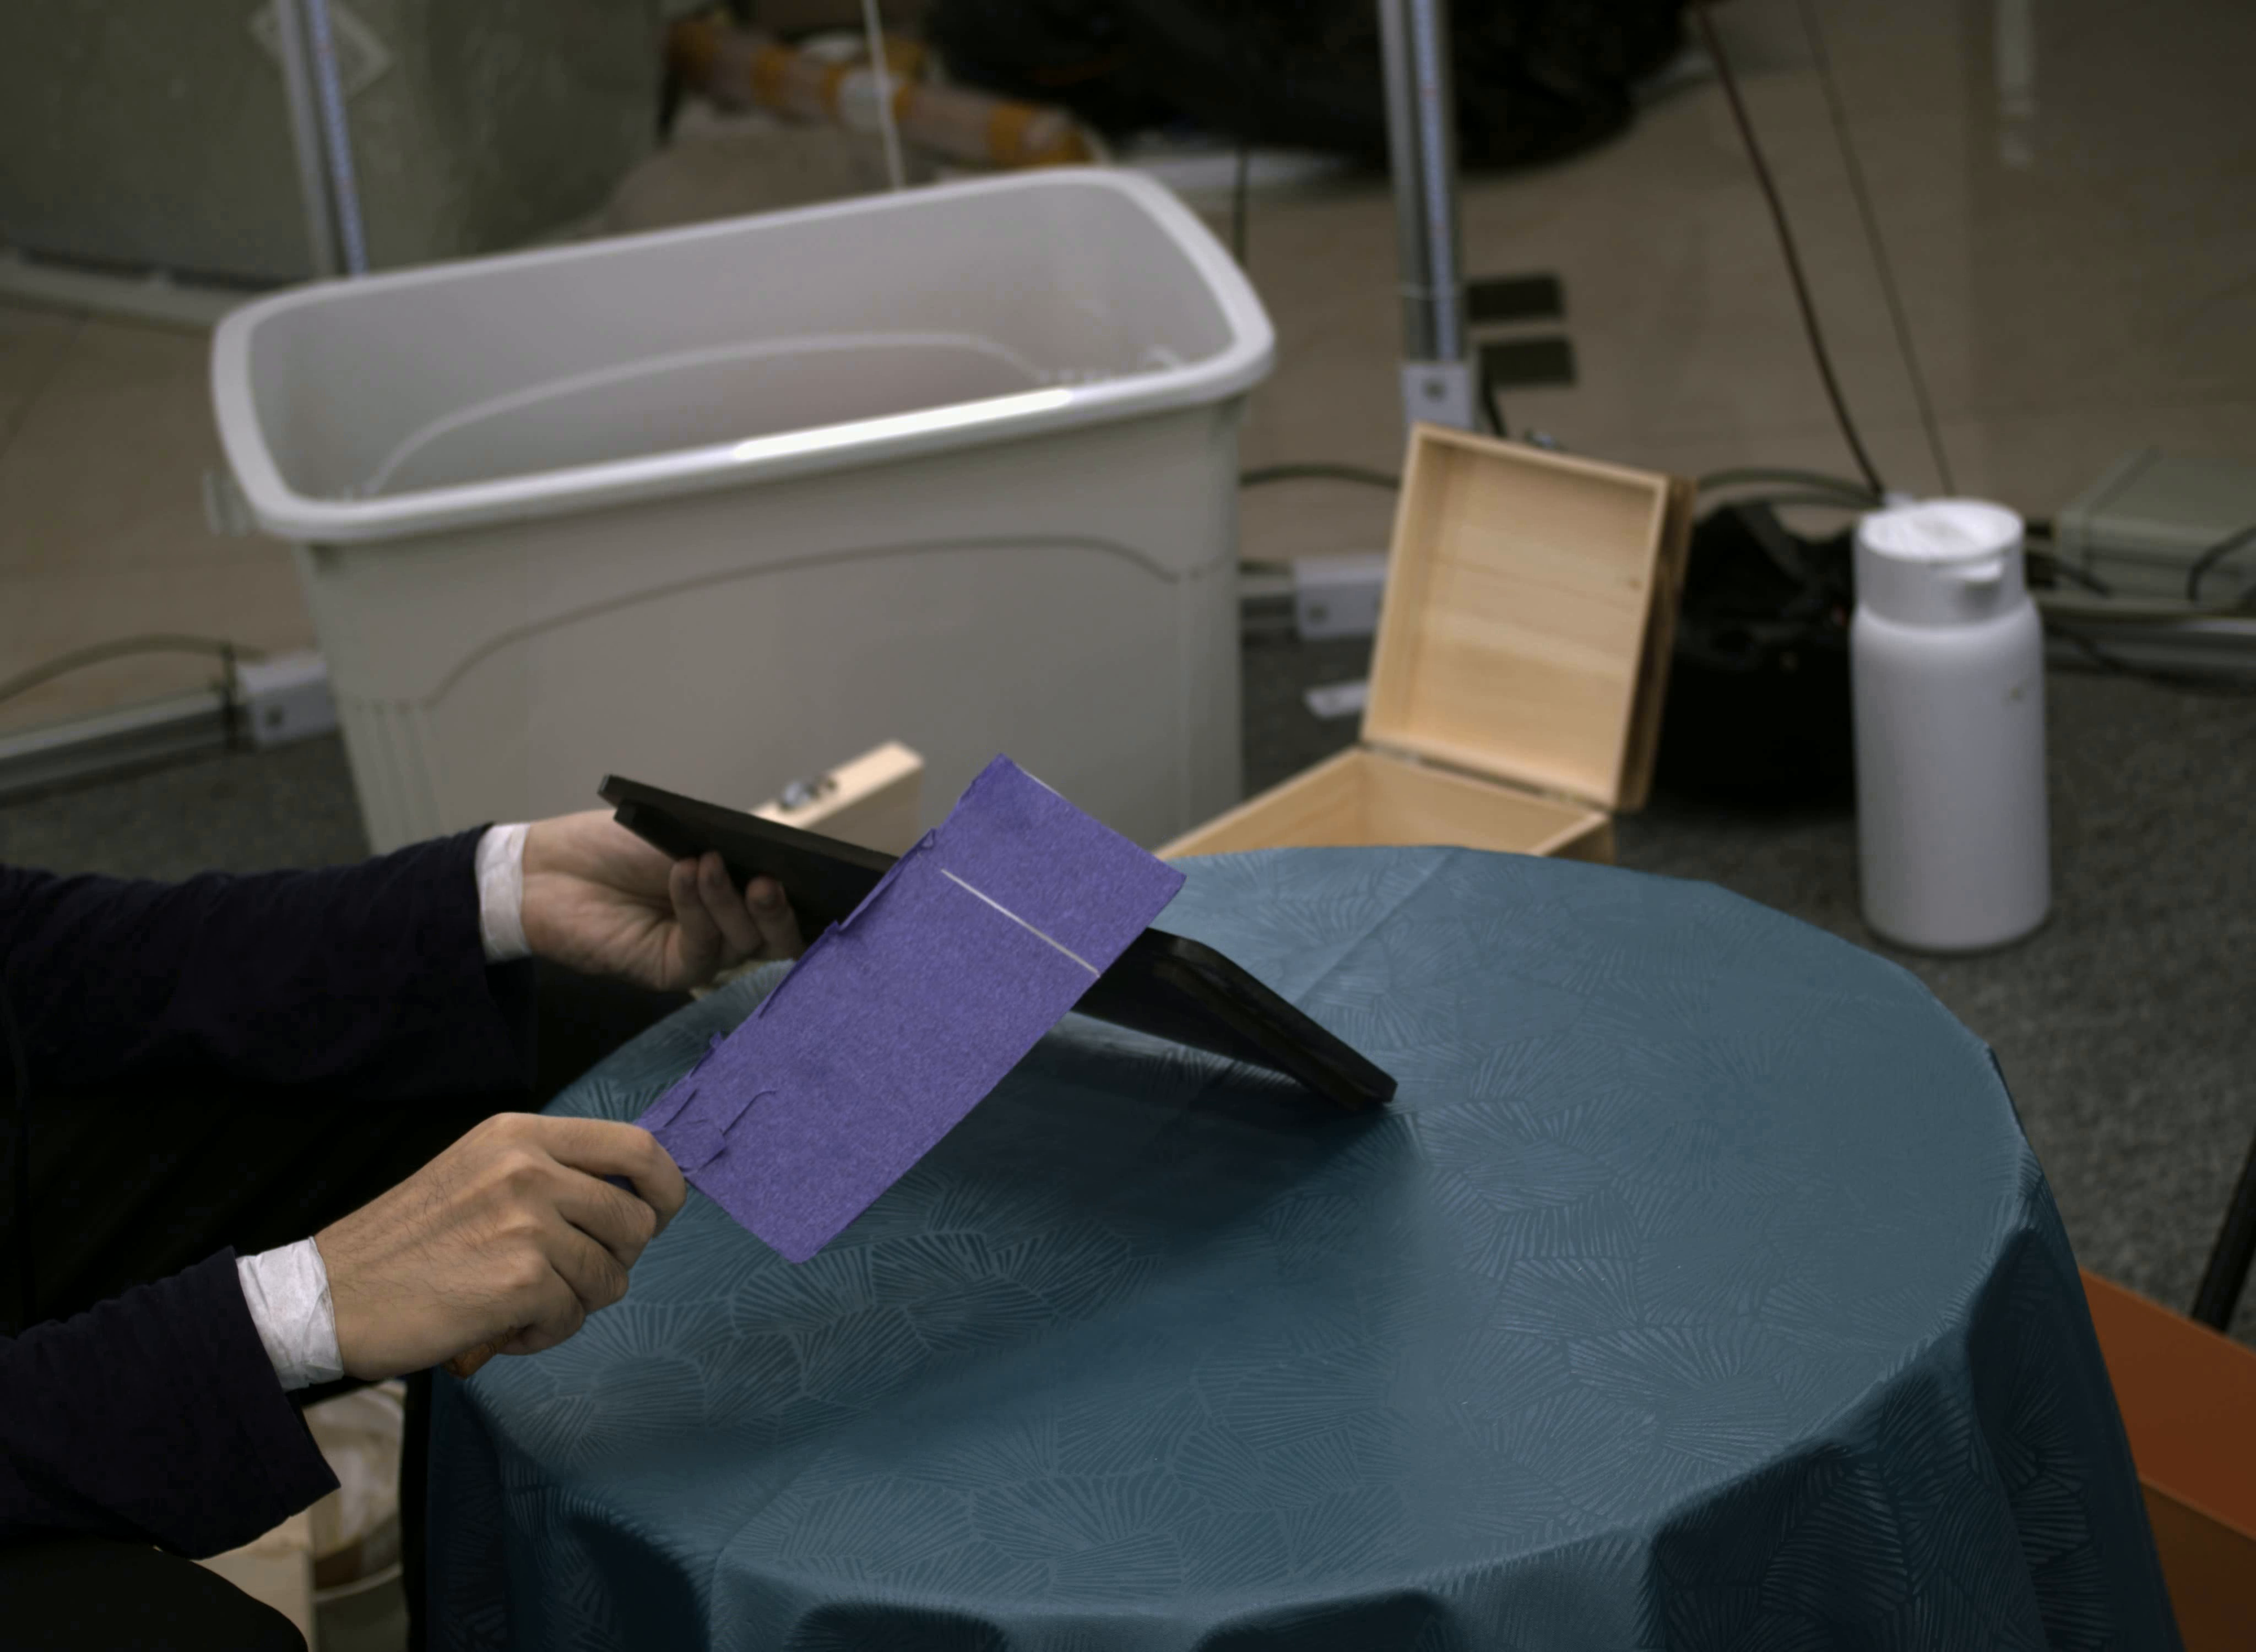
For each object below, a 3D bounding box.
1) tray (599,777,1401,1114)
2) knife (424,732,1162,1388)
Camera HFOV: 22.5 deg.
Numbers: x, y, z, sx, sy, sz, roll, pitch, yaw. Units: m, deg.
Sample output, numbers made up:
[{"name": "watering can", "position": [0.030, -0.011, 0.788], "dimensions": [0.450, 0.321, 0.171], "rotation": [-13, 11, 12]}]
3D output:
[{"name": "tray", "position": [-0.053, 0.048, 2.209], "dimensions": [0.304, 0.172, 0.018], "rotation": [15, 77, 34]}, {"name": "knife", "position": [-0.114, 0.095, 2.023], "dimensions": [0.103, 0.033, 0.313], "rotation": [35, 71, 25]}]
